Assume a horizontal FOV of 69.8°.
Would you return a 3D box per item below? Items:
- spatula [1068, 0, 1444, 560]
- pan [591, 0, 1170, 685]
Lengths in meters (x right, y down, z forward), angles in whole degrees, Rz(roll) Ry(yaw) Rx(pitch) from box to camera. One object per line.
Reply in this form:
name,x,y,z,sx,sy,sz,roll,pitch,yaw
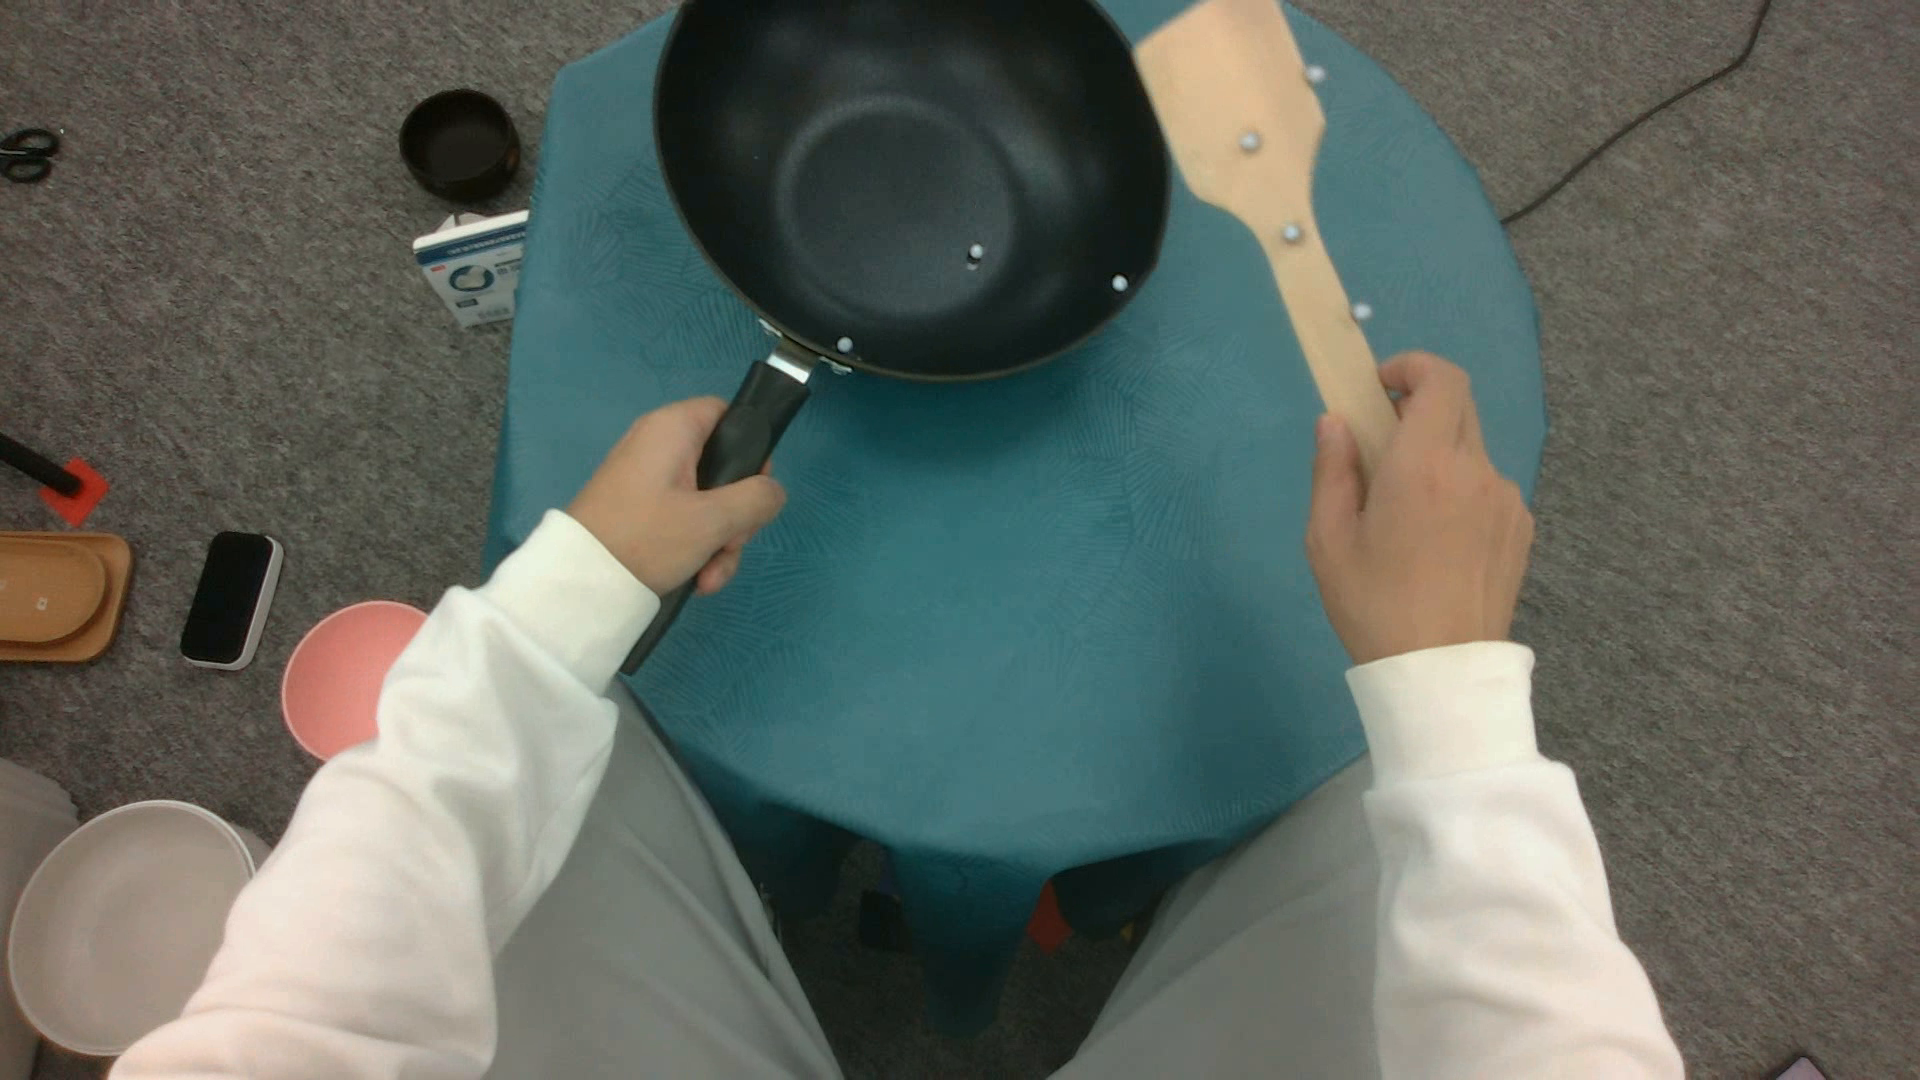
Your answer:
spatula,0.143,-0.123,0.640,0.072,0.011,0.293,-33,78,32
pan,-0.065,-0.121,0.757,0.288,0.086,0.465,27,72,-2
